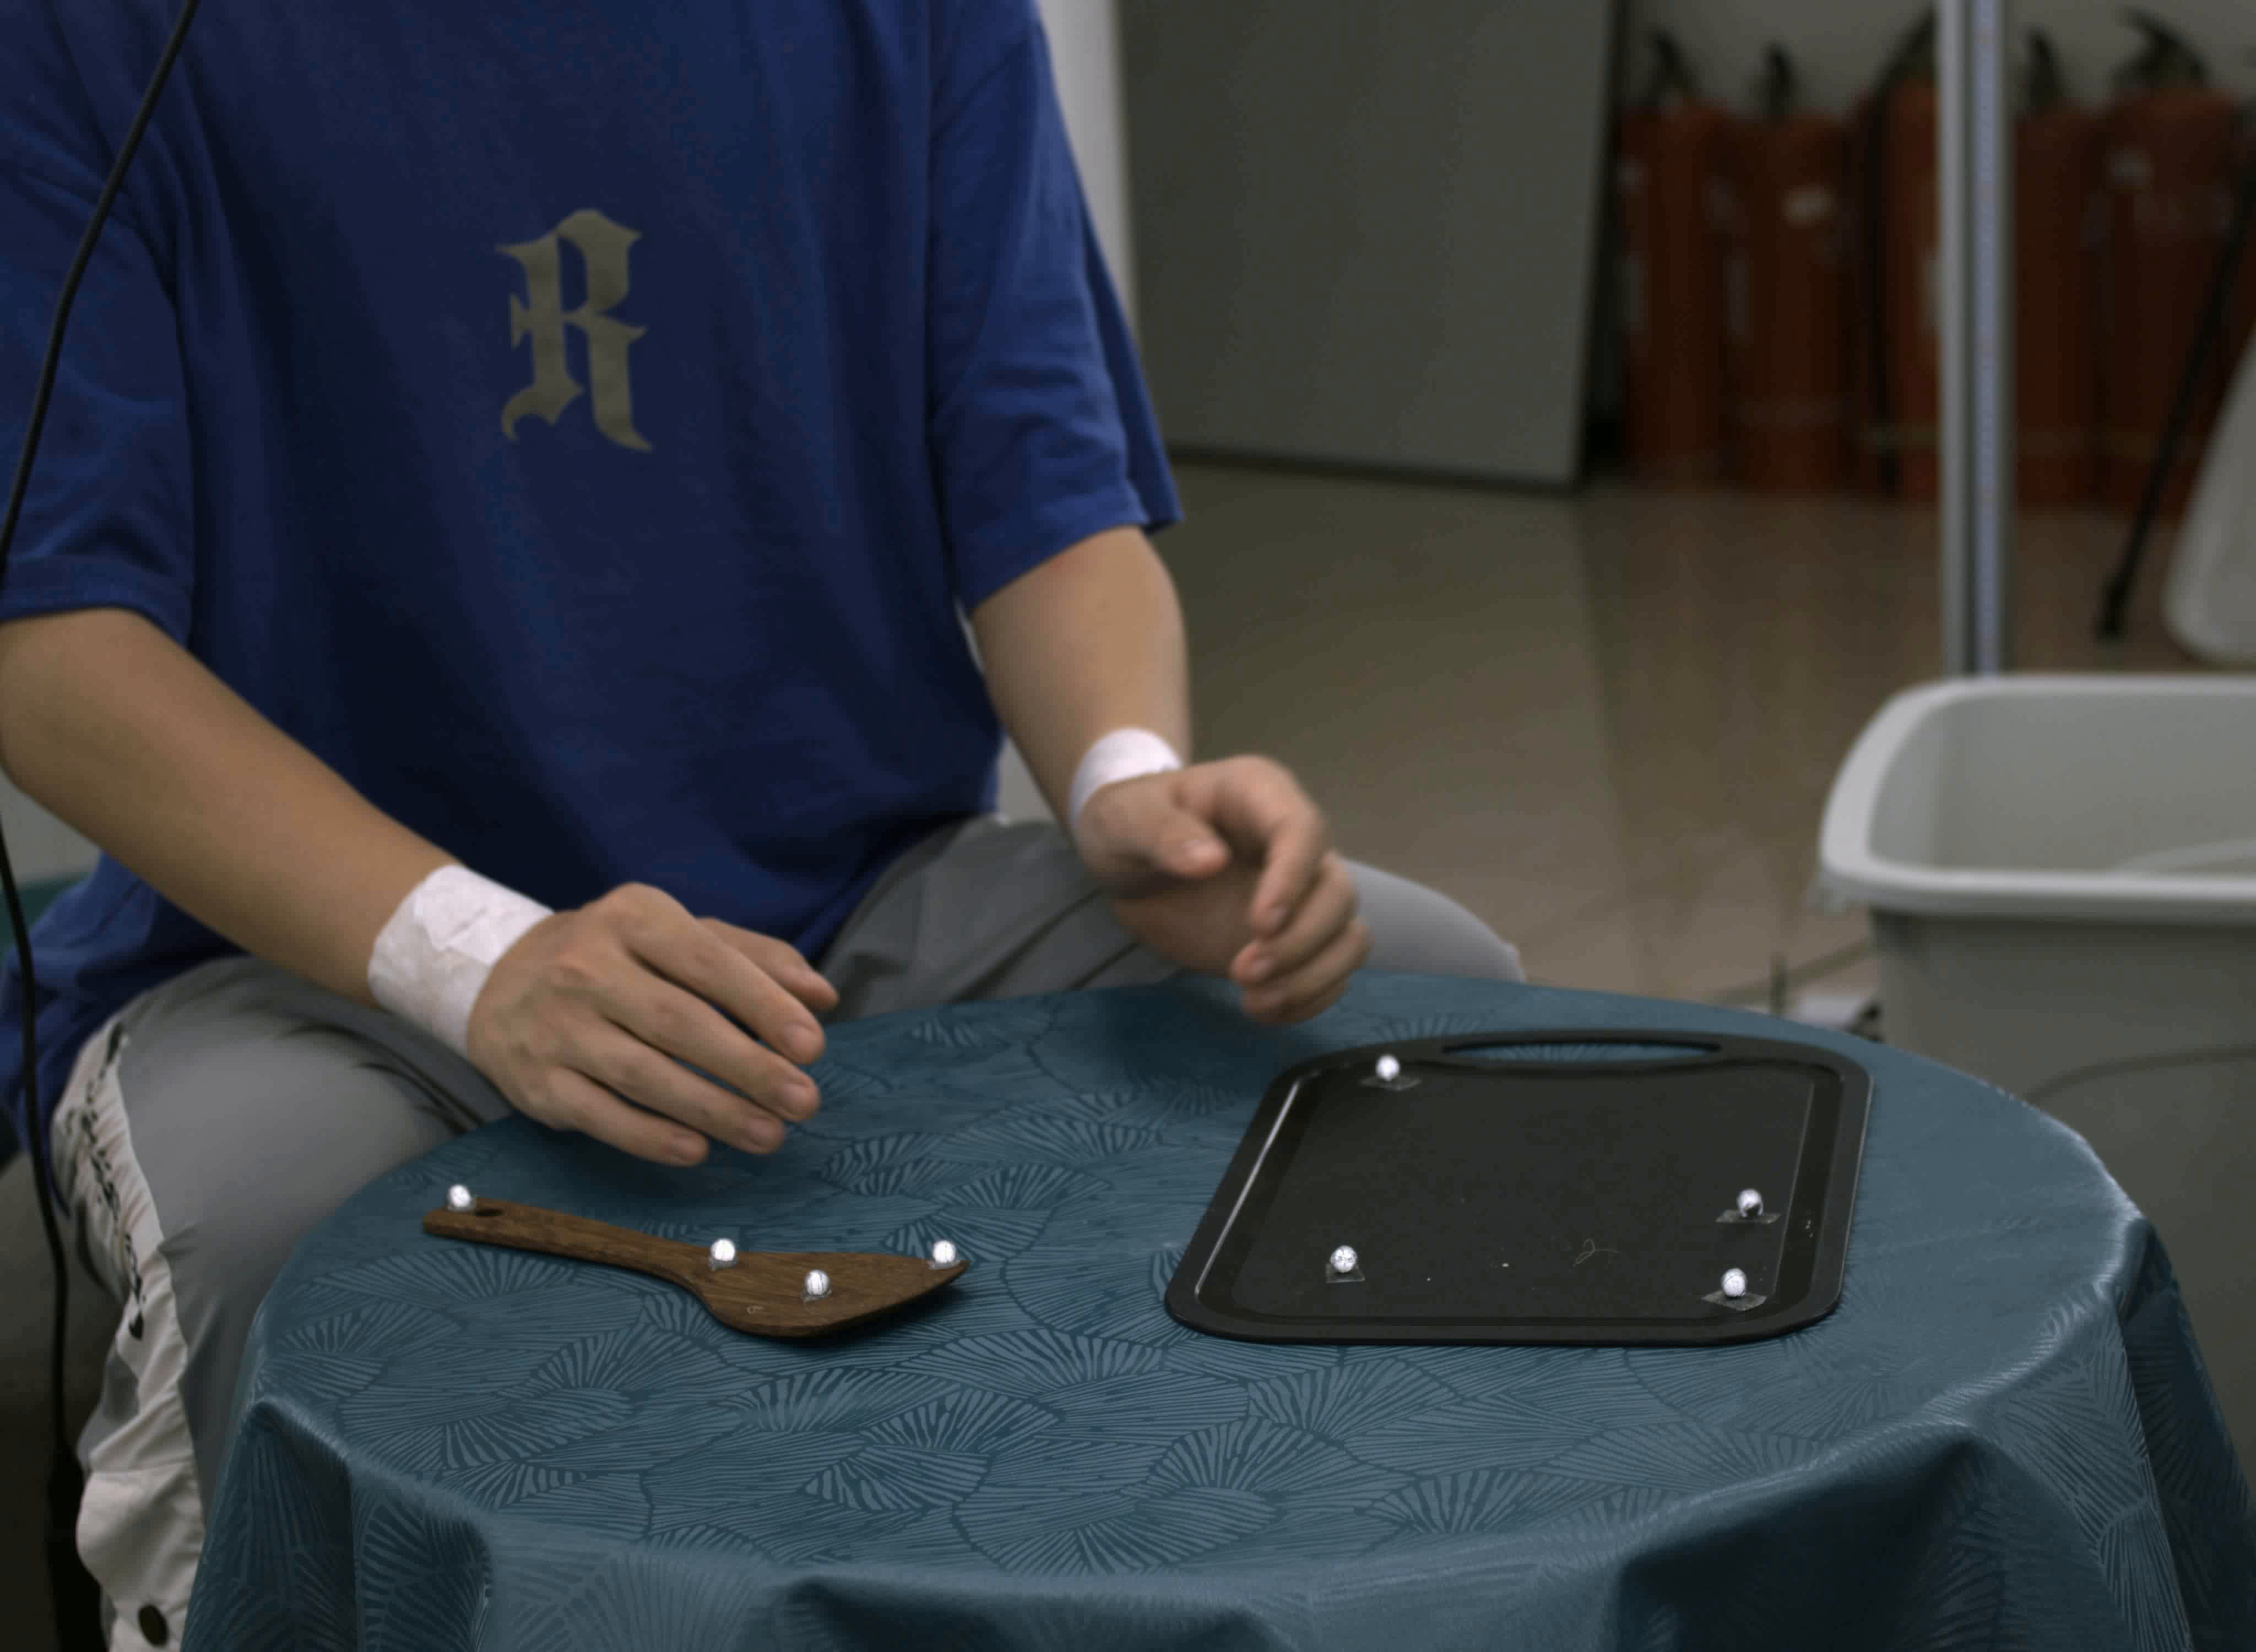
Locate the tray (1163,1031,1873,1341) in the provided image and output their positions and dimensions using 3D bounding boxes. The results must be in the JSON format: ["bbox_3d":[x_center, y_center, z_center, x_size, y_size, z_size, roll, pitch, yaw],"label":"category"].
[{"bbox_3d":[0.133,0.112,1.756,0.210,0.010,0.324,-1,14,12],"label":"tray"}]

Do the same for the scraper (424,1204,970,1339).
[{"bbox_3d":[-0.145,0.139,1.722,0.213,0.011,0.074,7,16,40],"label":"scraper"}]
